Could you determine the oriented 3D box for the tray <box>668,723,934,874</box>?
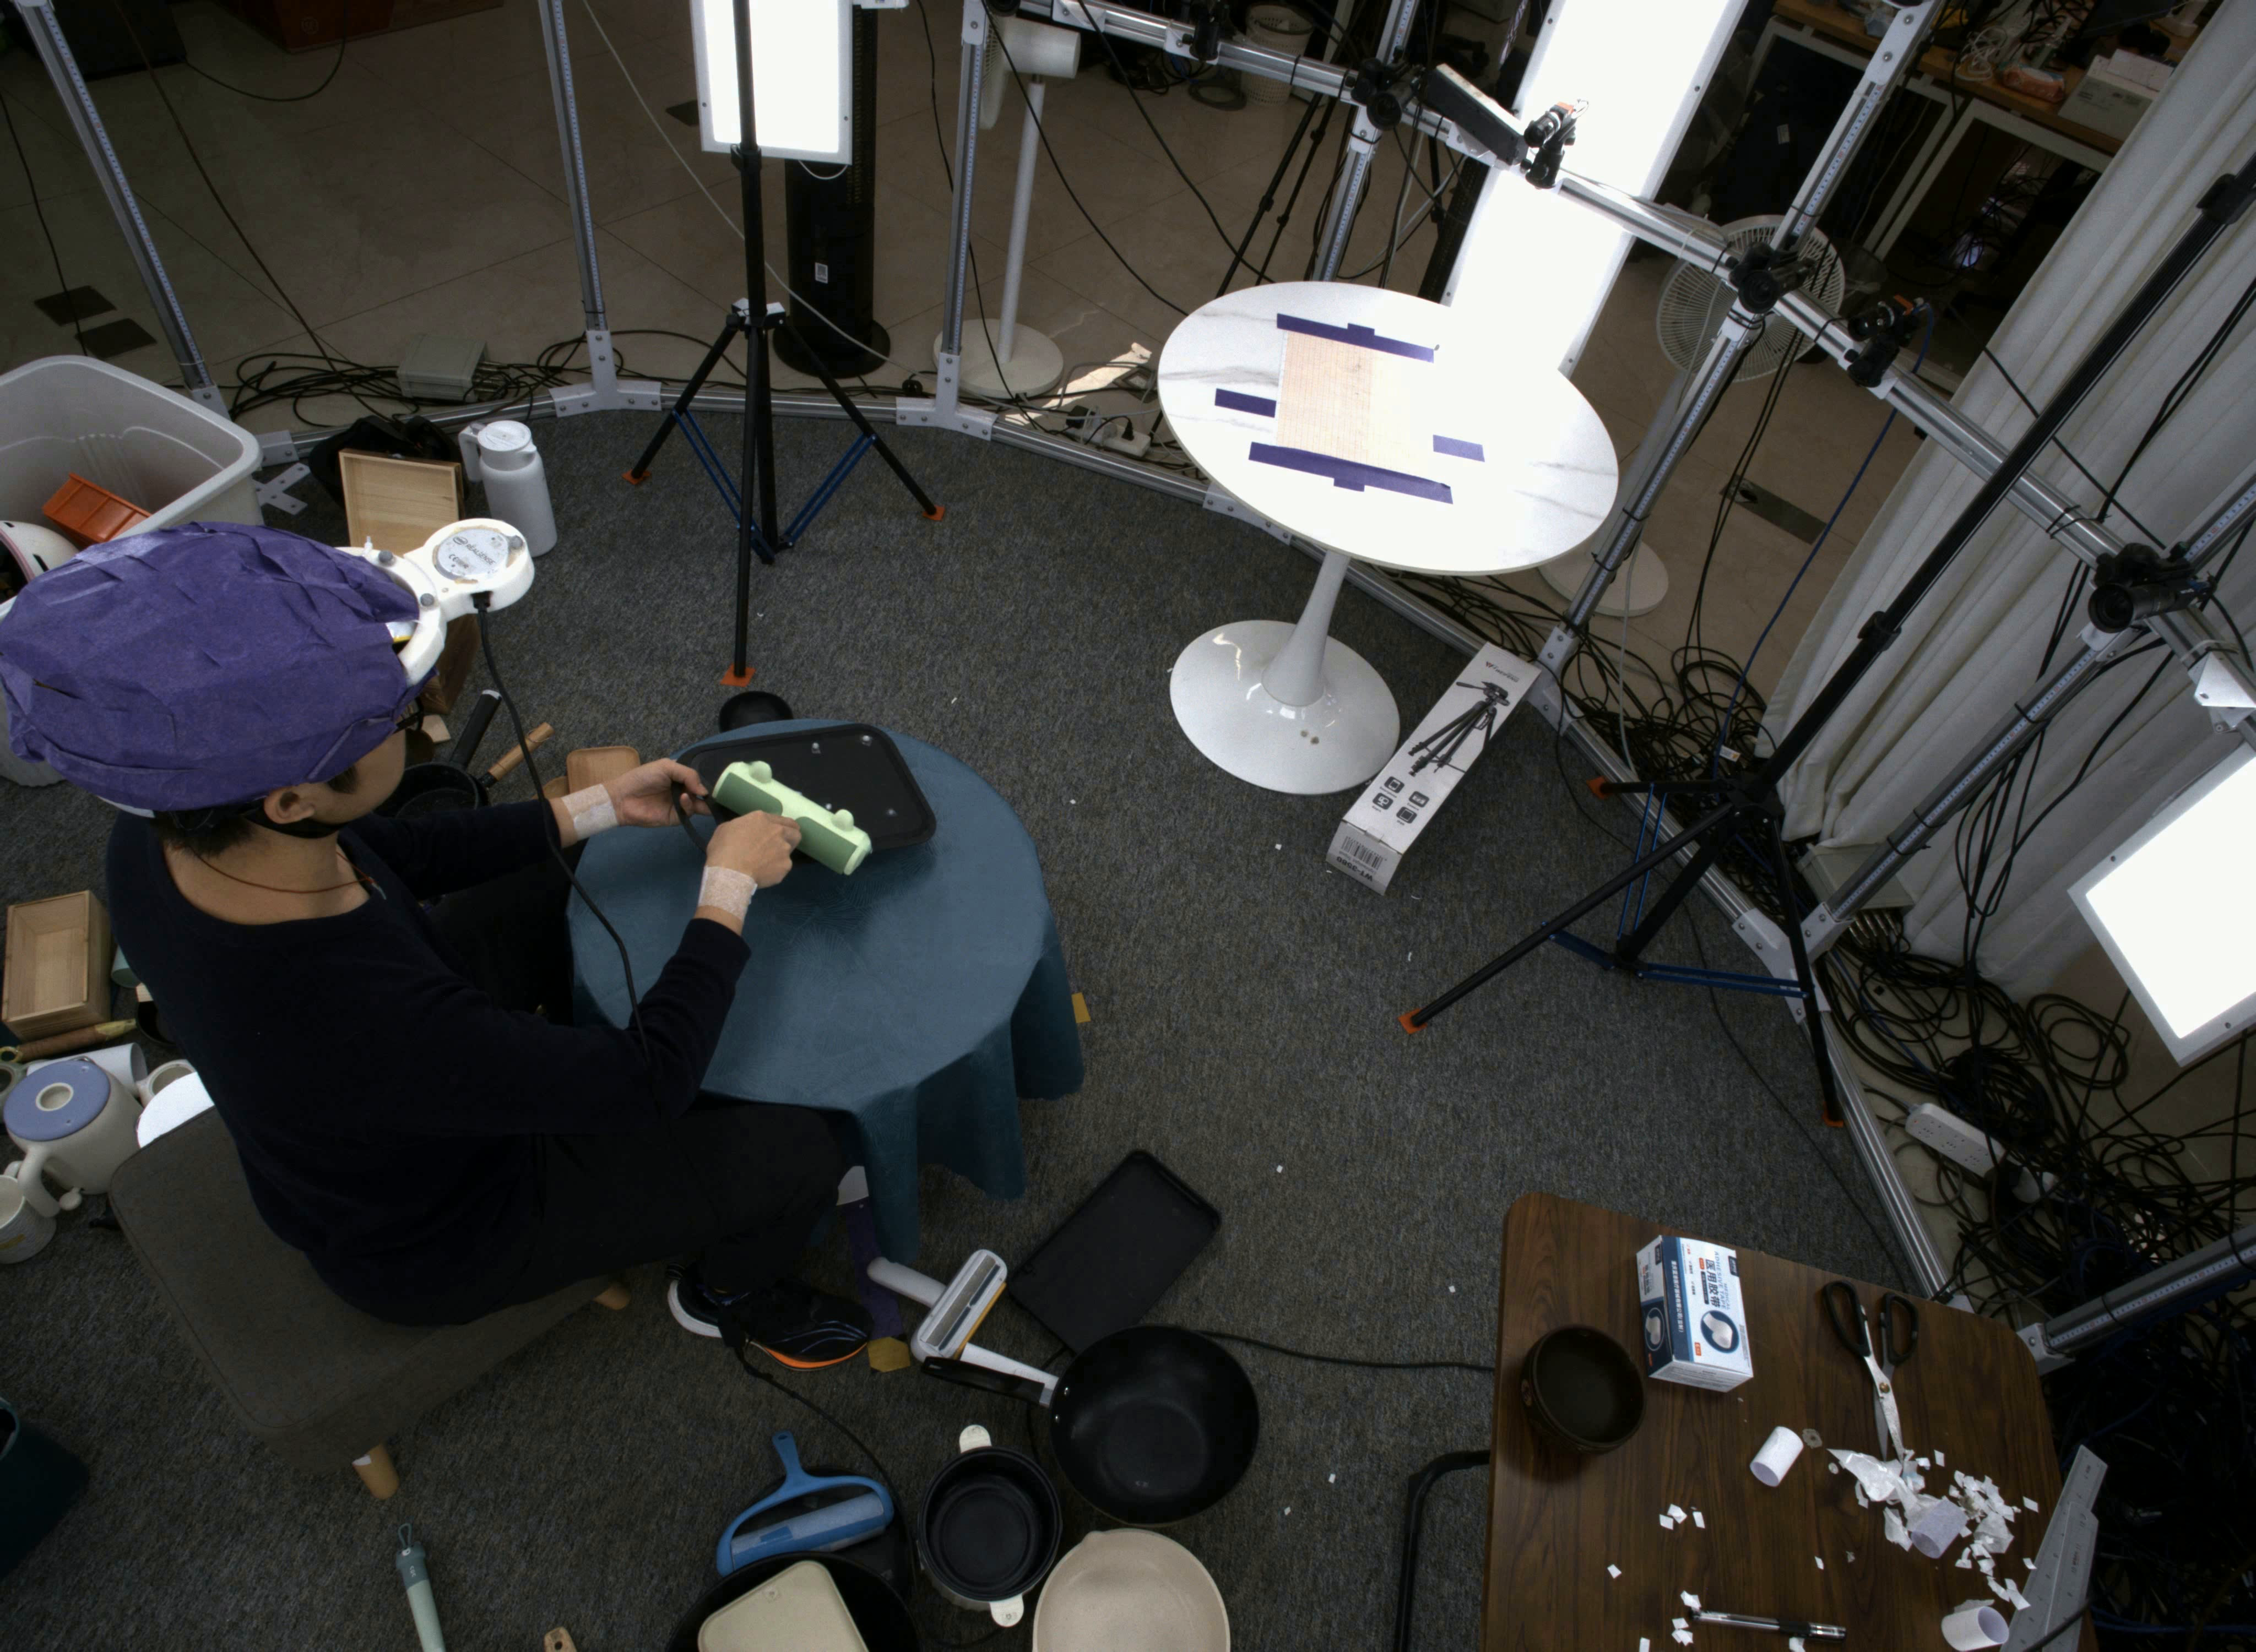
[{"bbox_3d":[-0.413,-0.041,1.636,0.330,0.010,0.206,-12,60,-40],"label":"tray"}]

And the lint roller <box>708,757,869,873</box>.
[{"bbox_3d":[-0.410,-0.010,1.519,0.199,0.083,0.181,30,11,-4],"label":"lint roller"}]
